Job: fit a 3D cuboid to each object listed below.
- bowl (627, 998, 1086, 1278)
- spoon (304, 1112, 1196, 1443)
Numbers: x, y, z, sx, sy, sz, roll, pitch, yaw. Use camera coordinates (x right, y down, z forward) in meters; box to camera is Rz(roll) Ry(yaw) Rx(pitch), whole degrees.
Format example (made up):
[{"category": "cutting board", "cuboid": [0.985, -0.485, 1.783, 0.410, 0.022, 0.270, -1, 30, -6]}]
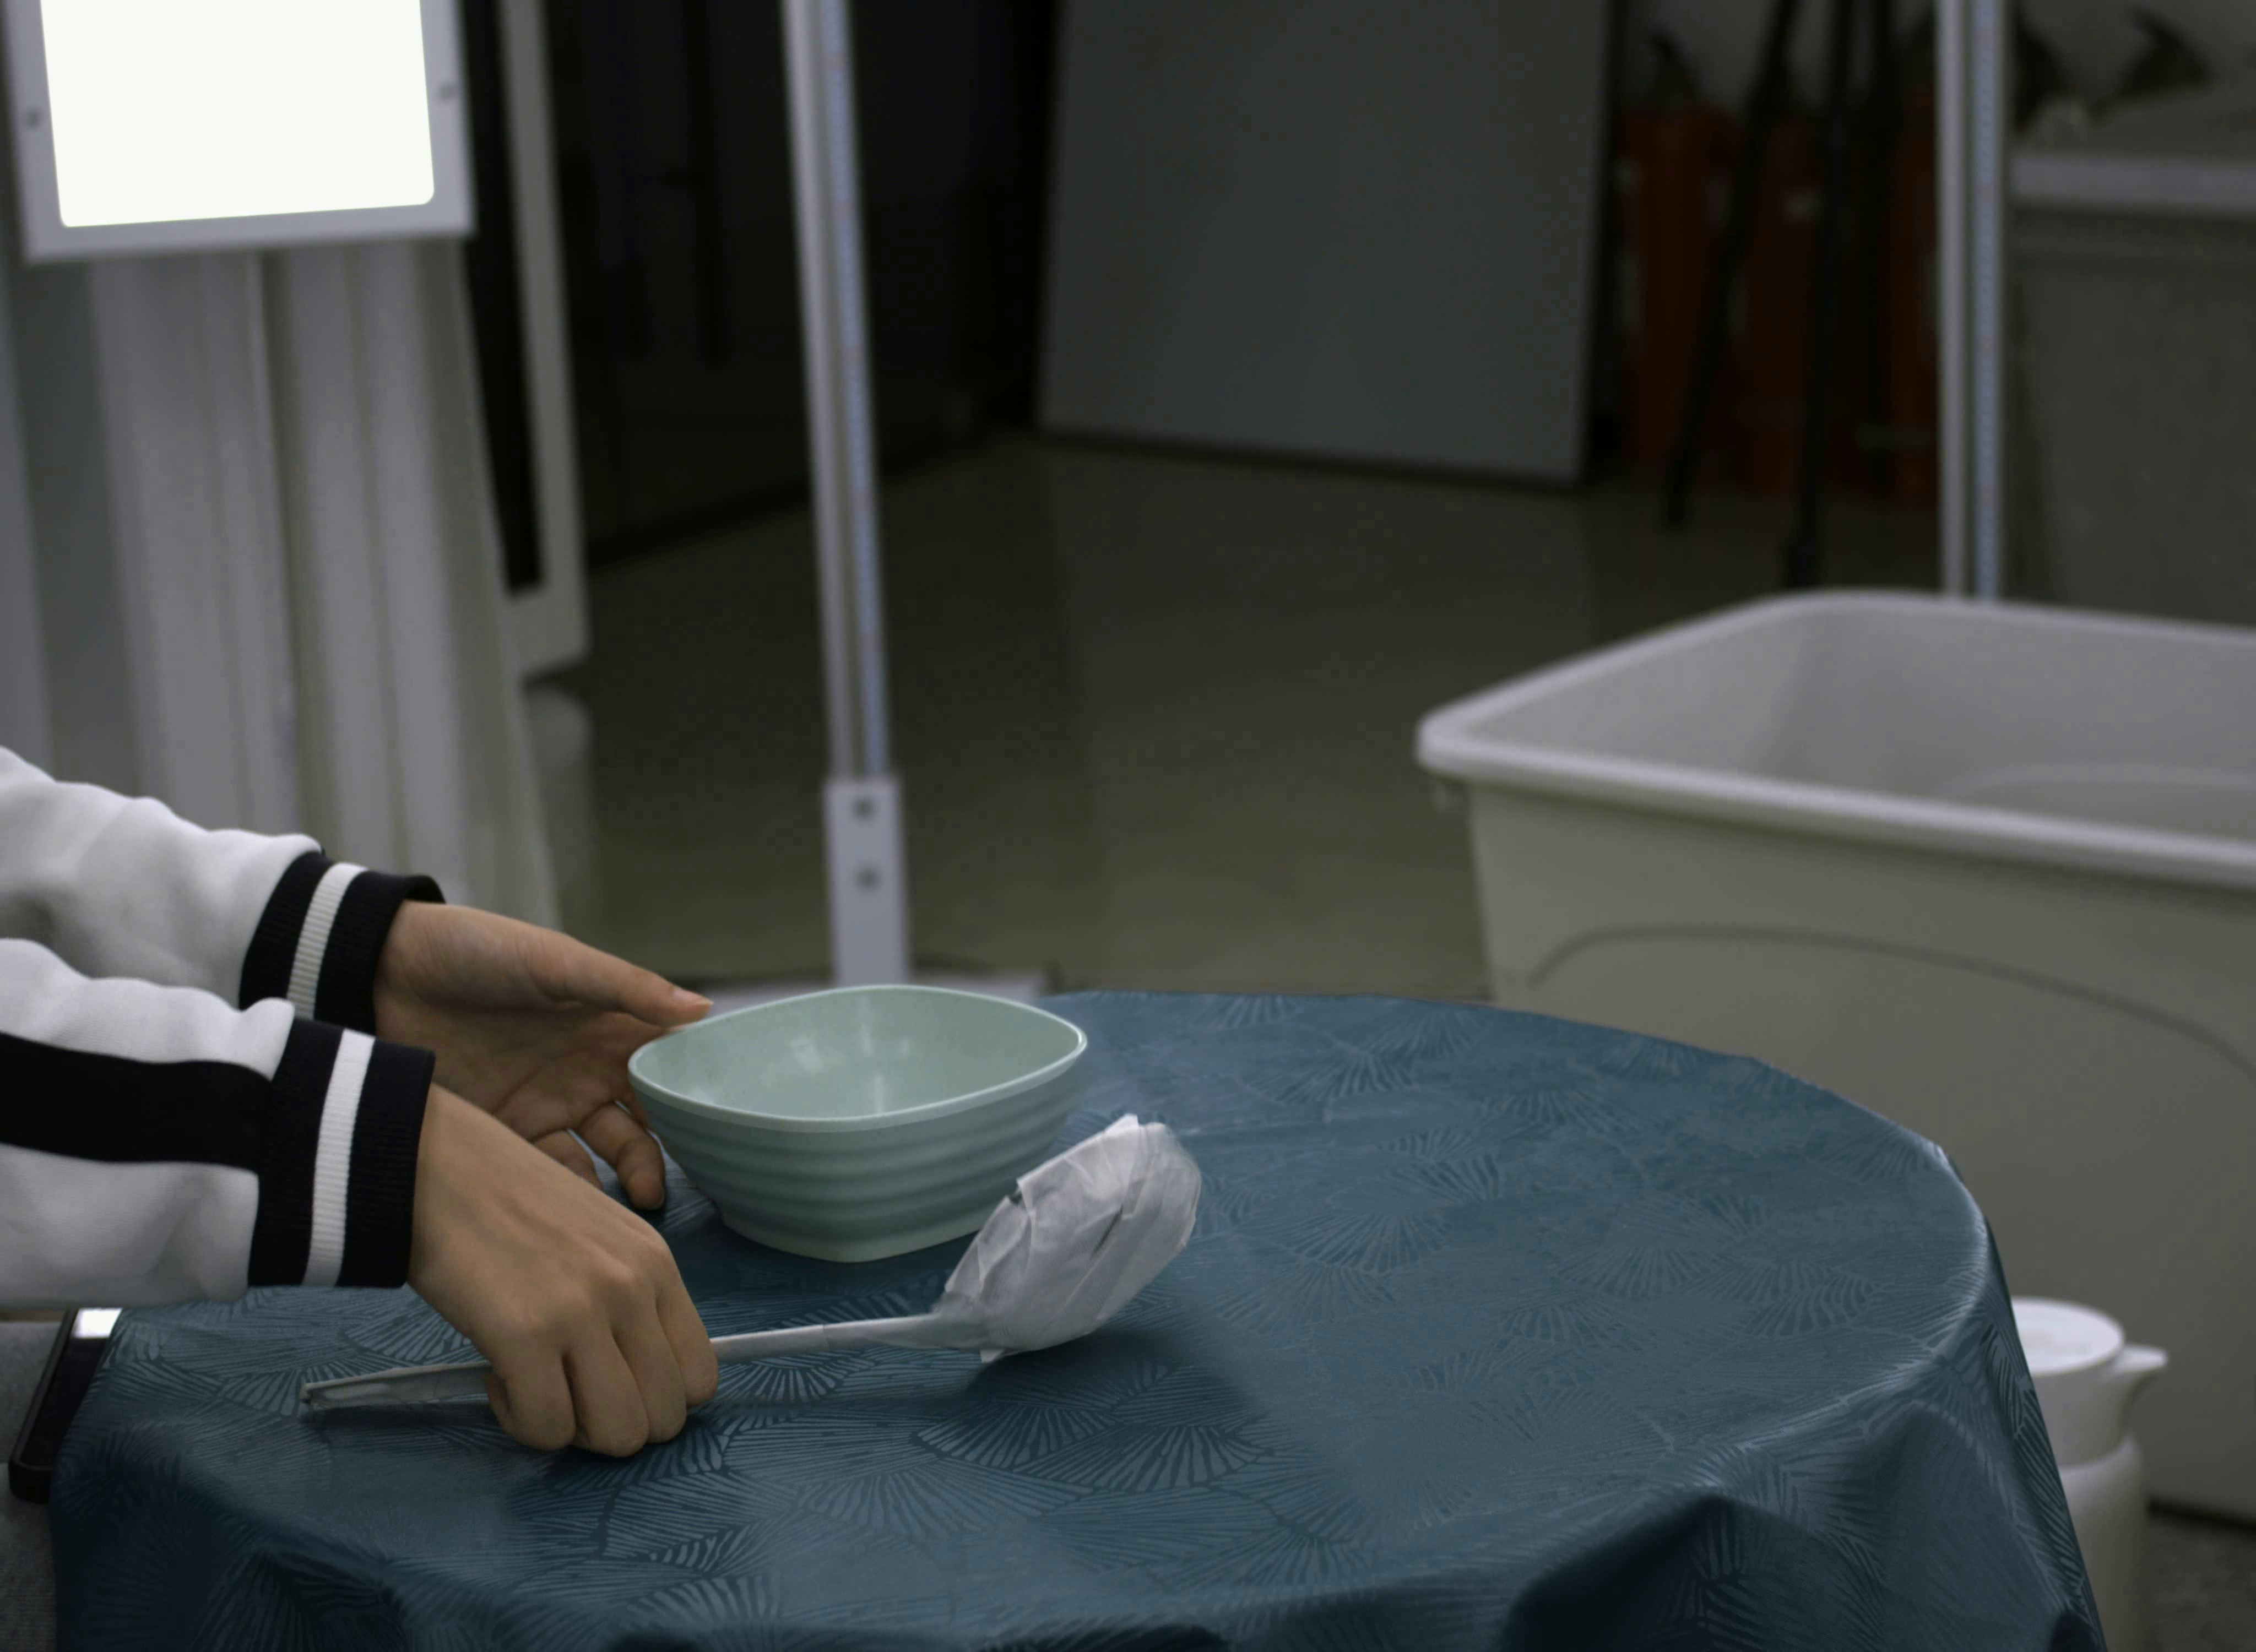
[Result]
[{"category": "bowl", "cuboid": [-0.086, 0.104, 1.757, 0.149, 0.059, 0.152, -4, 13, 0]}, {"category": "spoon", "cuboid": [-0.112, 0.141, 1.620, 0.275, 0.100, 0.060, -9, 51, 10]}]
